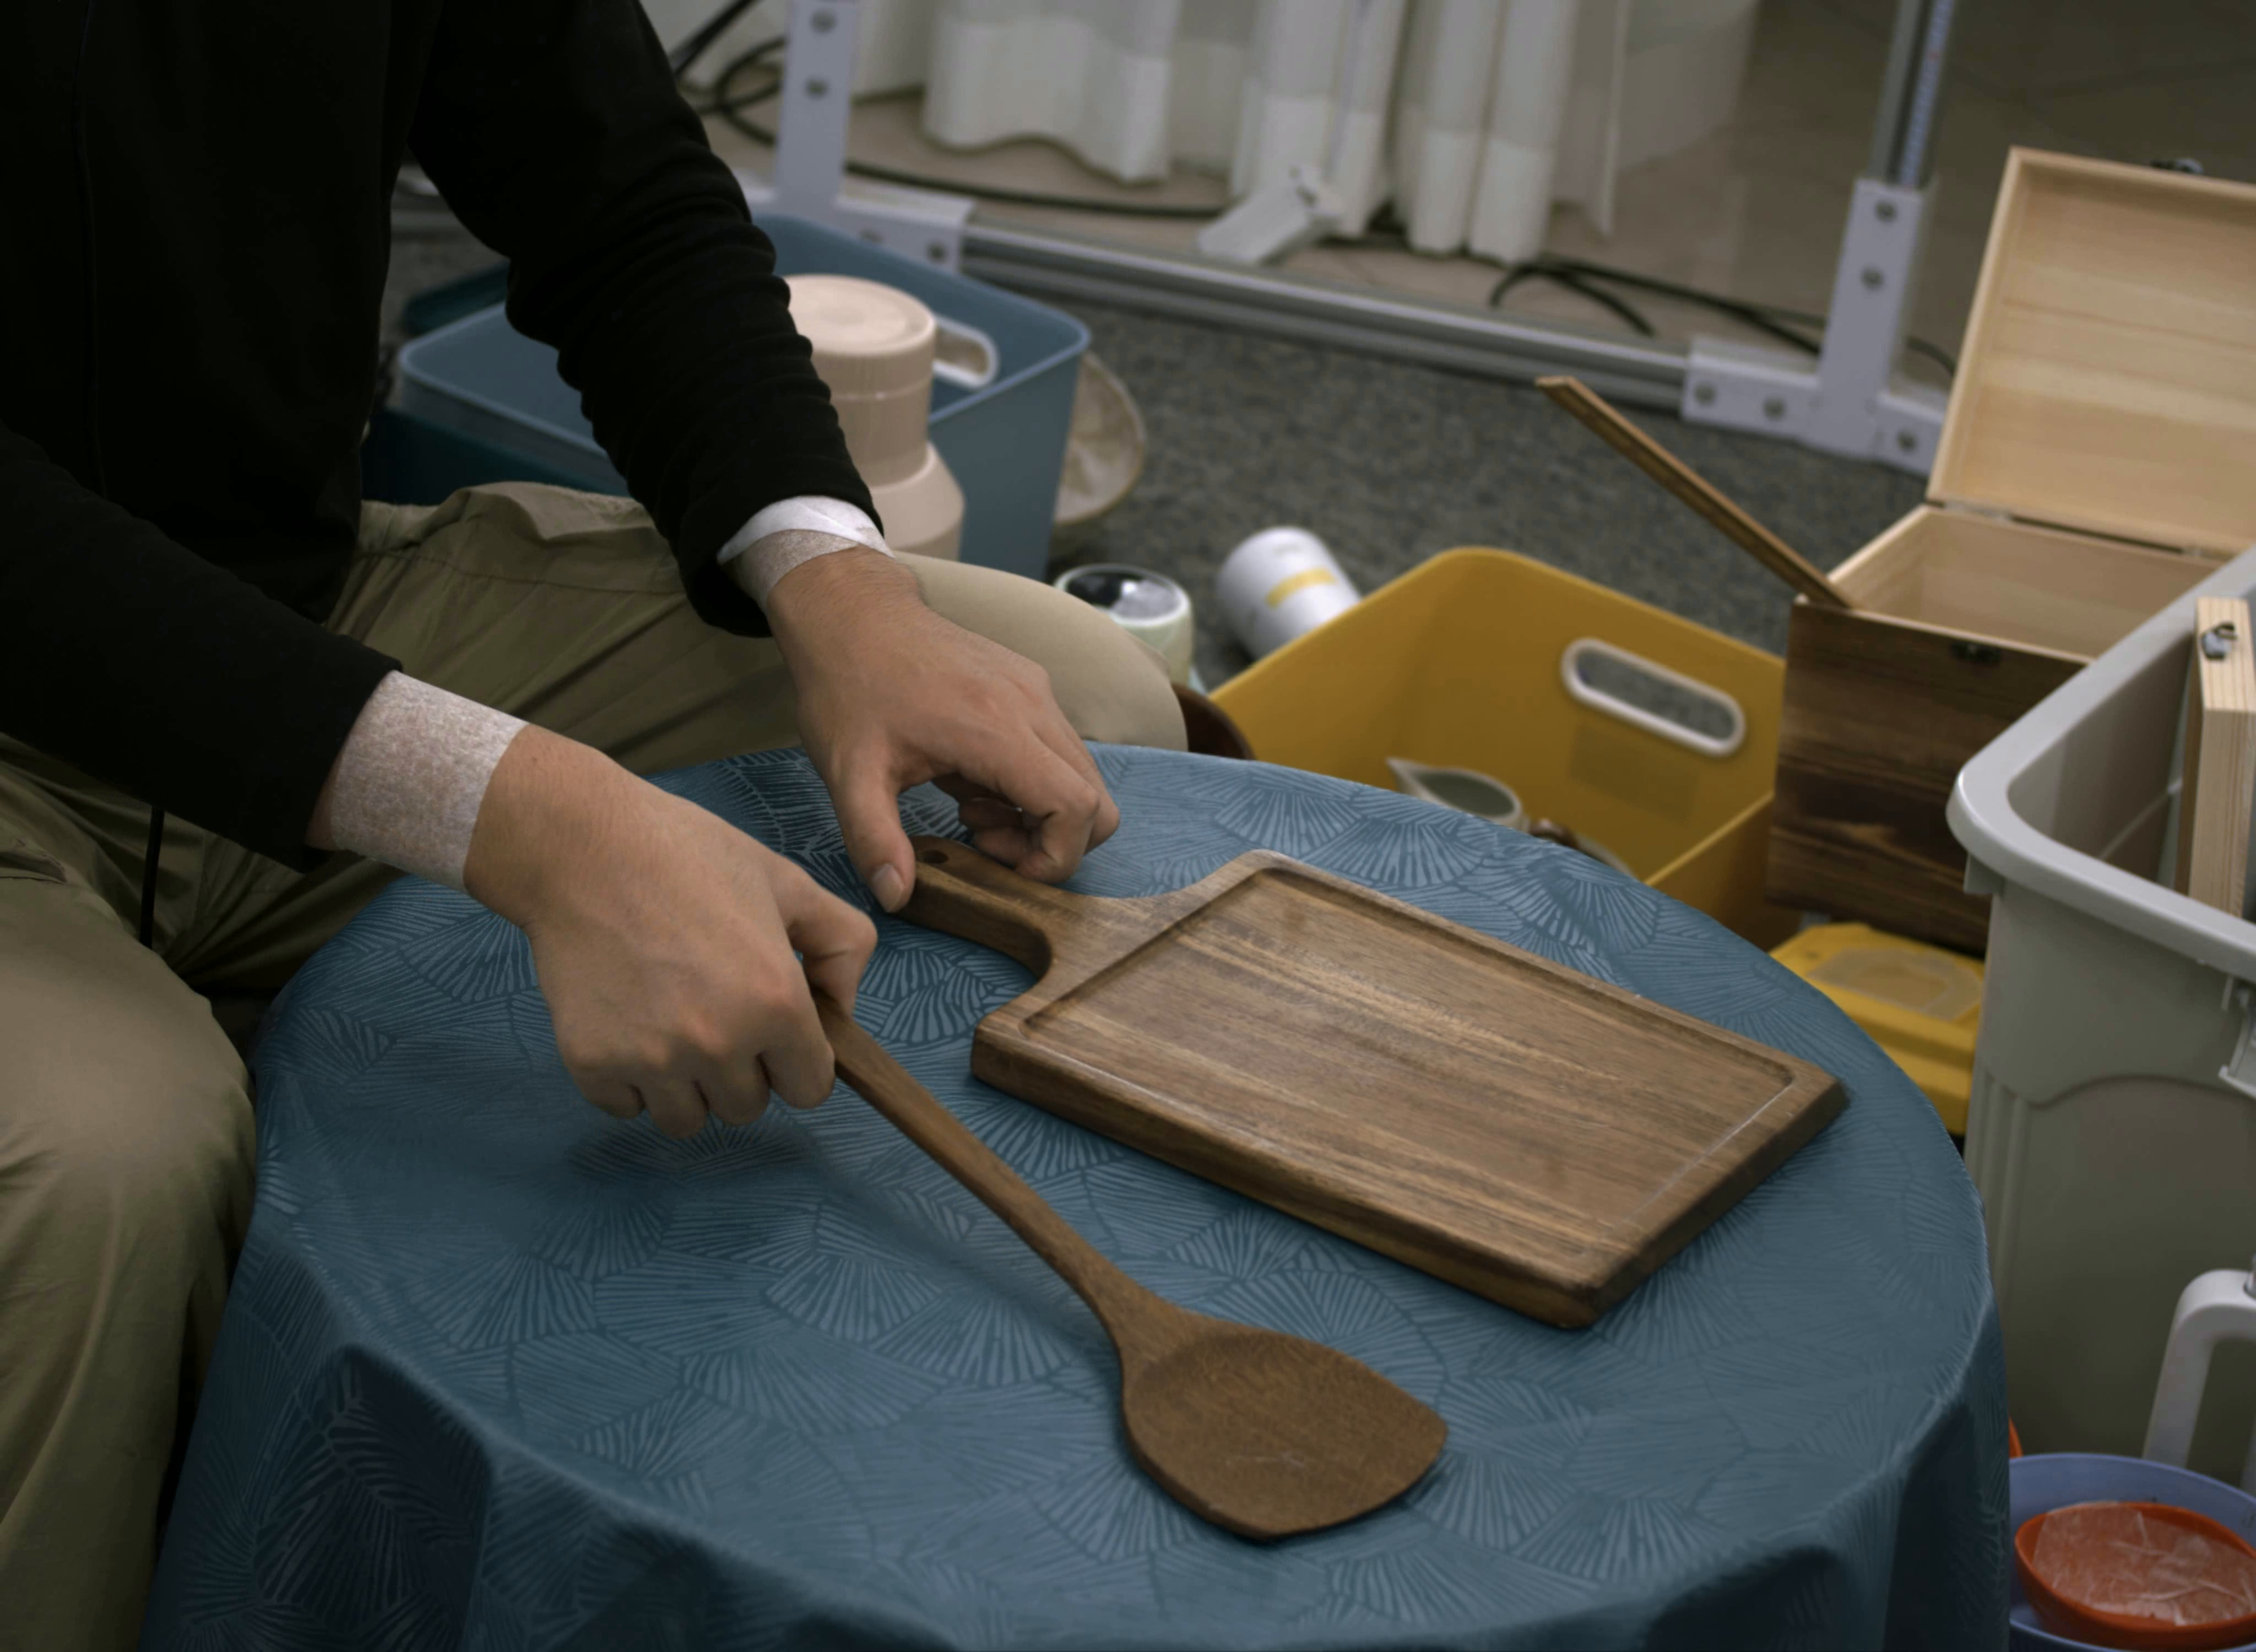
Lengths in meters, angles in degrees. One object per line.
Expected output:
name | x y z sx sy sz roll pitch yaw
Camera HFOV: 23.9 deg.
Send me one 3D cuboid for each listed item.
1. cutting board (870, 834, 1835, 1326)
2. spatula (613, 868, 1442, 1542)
cutting board | 0.057 0.070 1.896 0.354 0.023 0.200 21 30 27
spatula | -0.051 0.114 1.749 0.095 0.016 0.389 -20 45 -37
